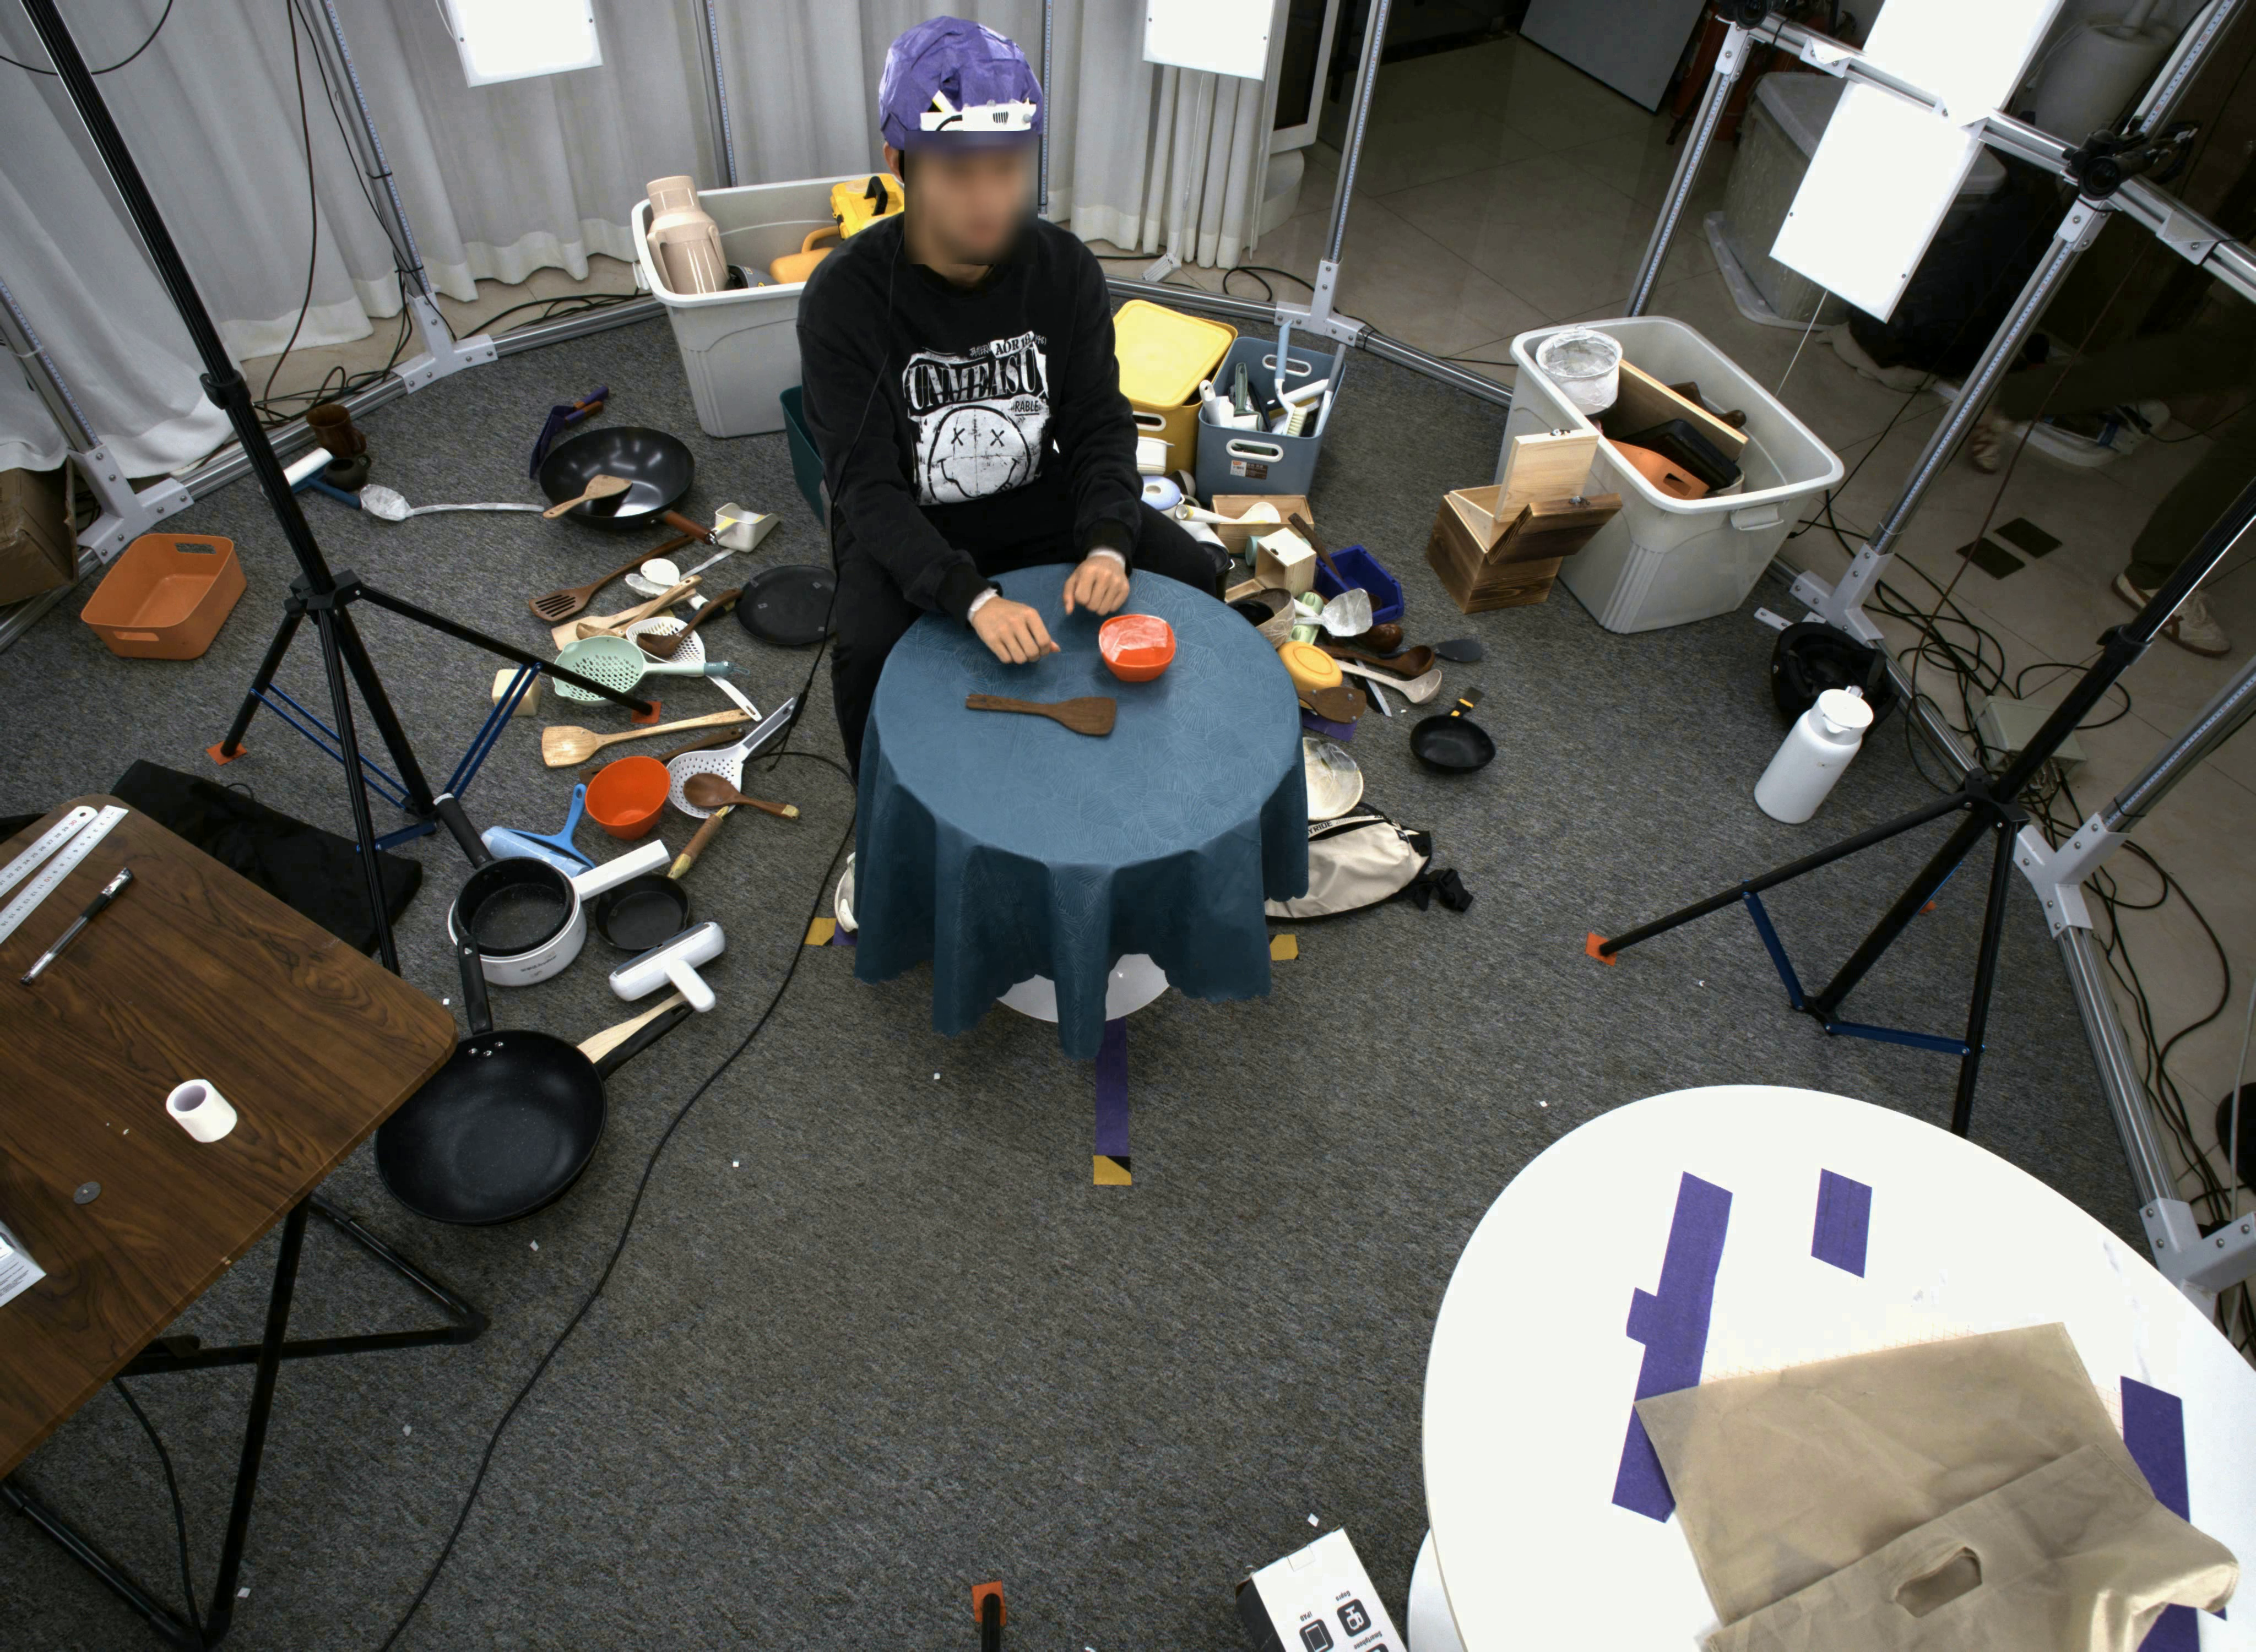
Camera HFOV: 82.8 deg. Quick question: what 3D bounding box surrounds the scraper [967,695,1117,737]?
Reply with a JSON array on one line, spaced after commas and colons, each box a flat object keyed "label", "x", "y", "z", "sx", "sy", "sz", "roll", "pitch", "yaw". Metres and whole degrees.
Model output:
[{"label": "scraper", "x": -0.121, "y": -0.163, "z": 1.813, "sx": 0.211, "sy": 0.010, "sz": 0.077, "roll": 7, "pitch": 48, "yaw": 3}]

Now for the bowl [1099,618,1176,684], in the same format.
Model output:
[{"label": "bowl", "x": 0.013, "y": -0.248, "z": 1.871, "sx": 0.119, "sy": 0.050, "sz": 0.122, "roll": 2, "pitch": 50, "yaw": -2}]
